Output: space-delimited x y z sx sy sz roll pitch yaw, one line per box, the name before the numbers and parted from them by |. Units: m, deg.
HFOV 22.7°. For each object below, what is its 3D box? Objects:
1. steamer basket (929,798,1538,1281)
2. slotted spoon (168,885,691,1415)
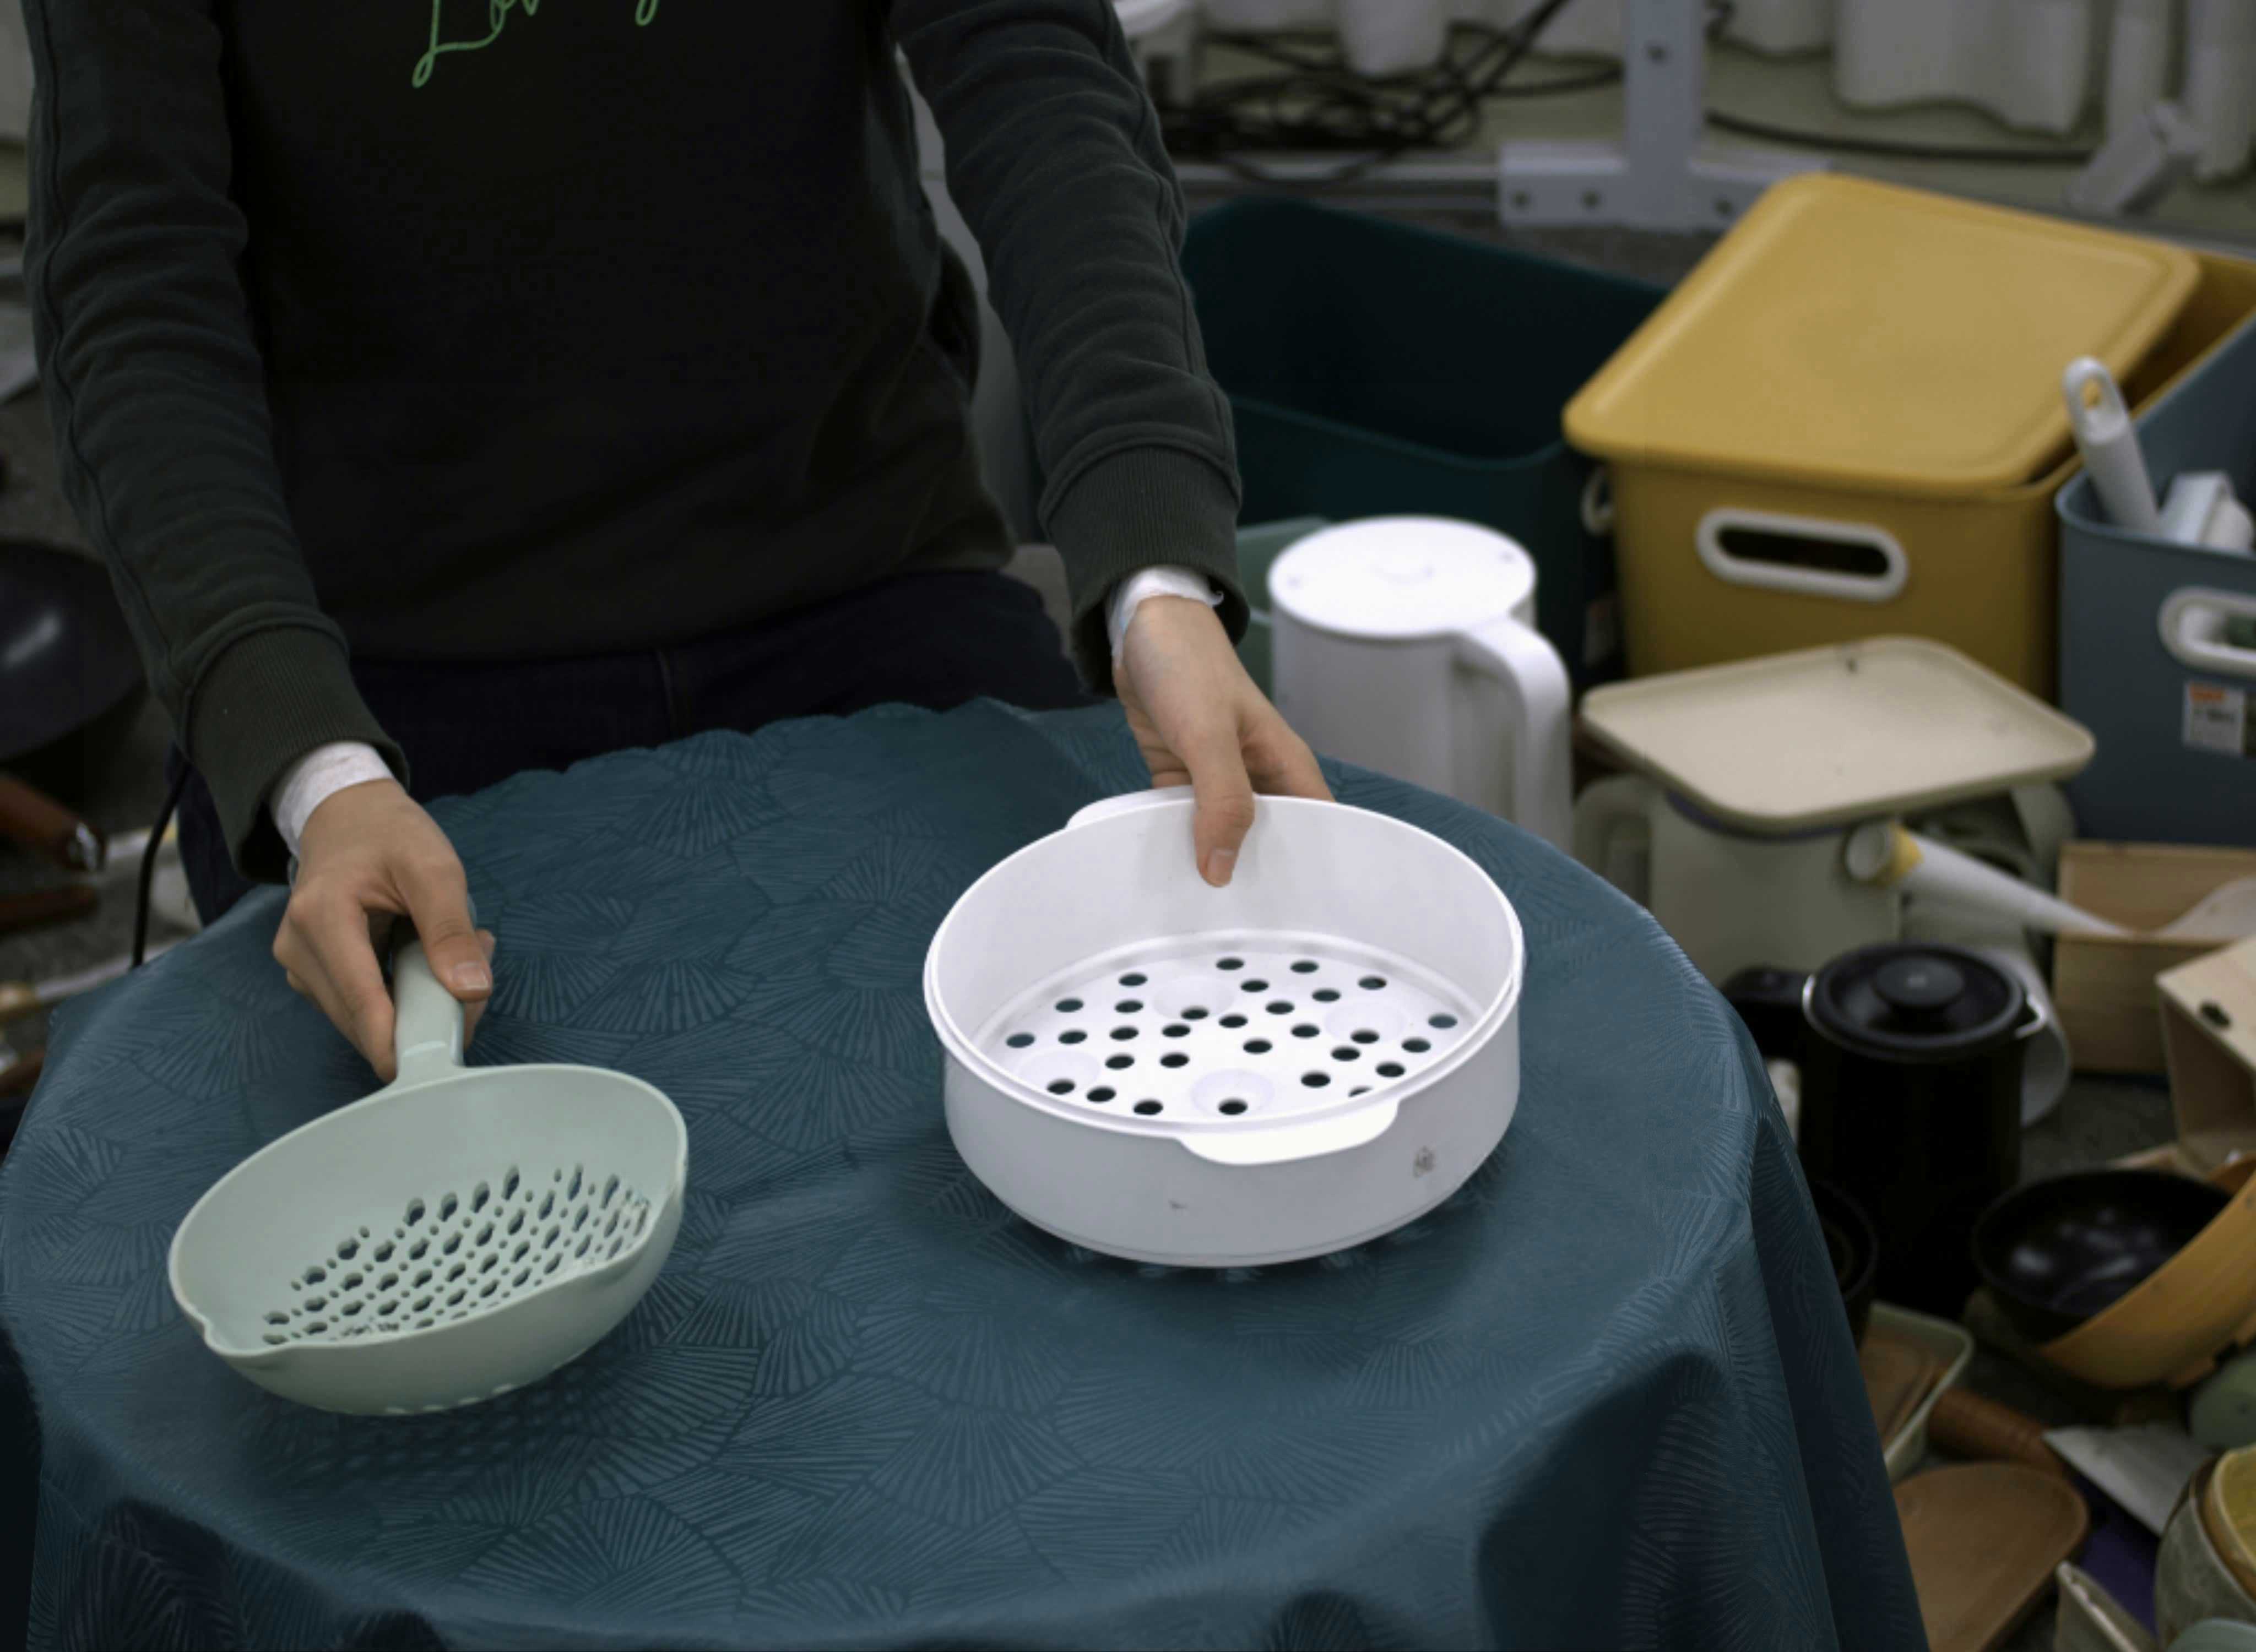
steamer basket | 0.036 0.073 1.867 0.201 0.068 0.233 -8 31 -10
slotted spoon | -0.228 0.090 1.855 0.169 0.074 0.364 -13 31 -2
